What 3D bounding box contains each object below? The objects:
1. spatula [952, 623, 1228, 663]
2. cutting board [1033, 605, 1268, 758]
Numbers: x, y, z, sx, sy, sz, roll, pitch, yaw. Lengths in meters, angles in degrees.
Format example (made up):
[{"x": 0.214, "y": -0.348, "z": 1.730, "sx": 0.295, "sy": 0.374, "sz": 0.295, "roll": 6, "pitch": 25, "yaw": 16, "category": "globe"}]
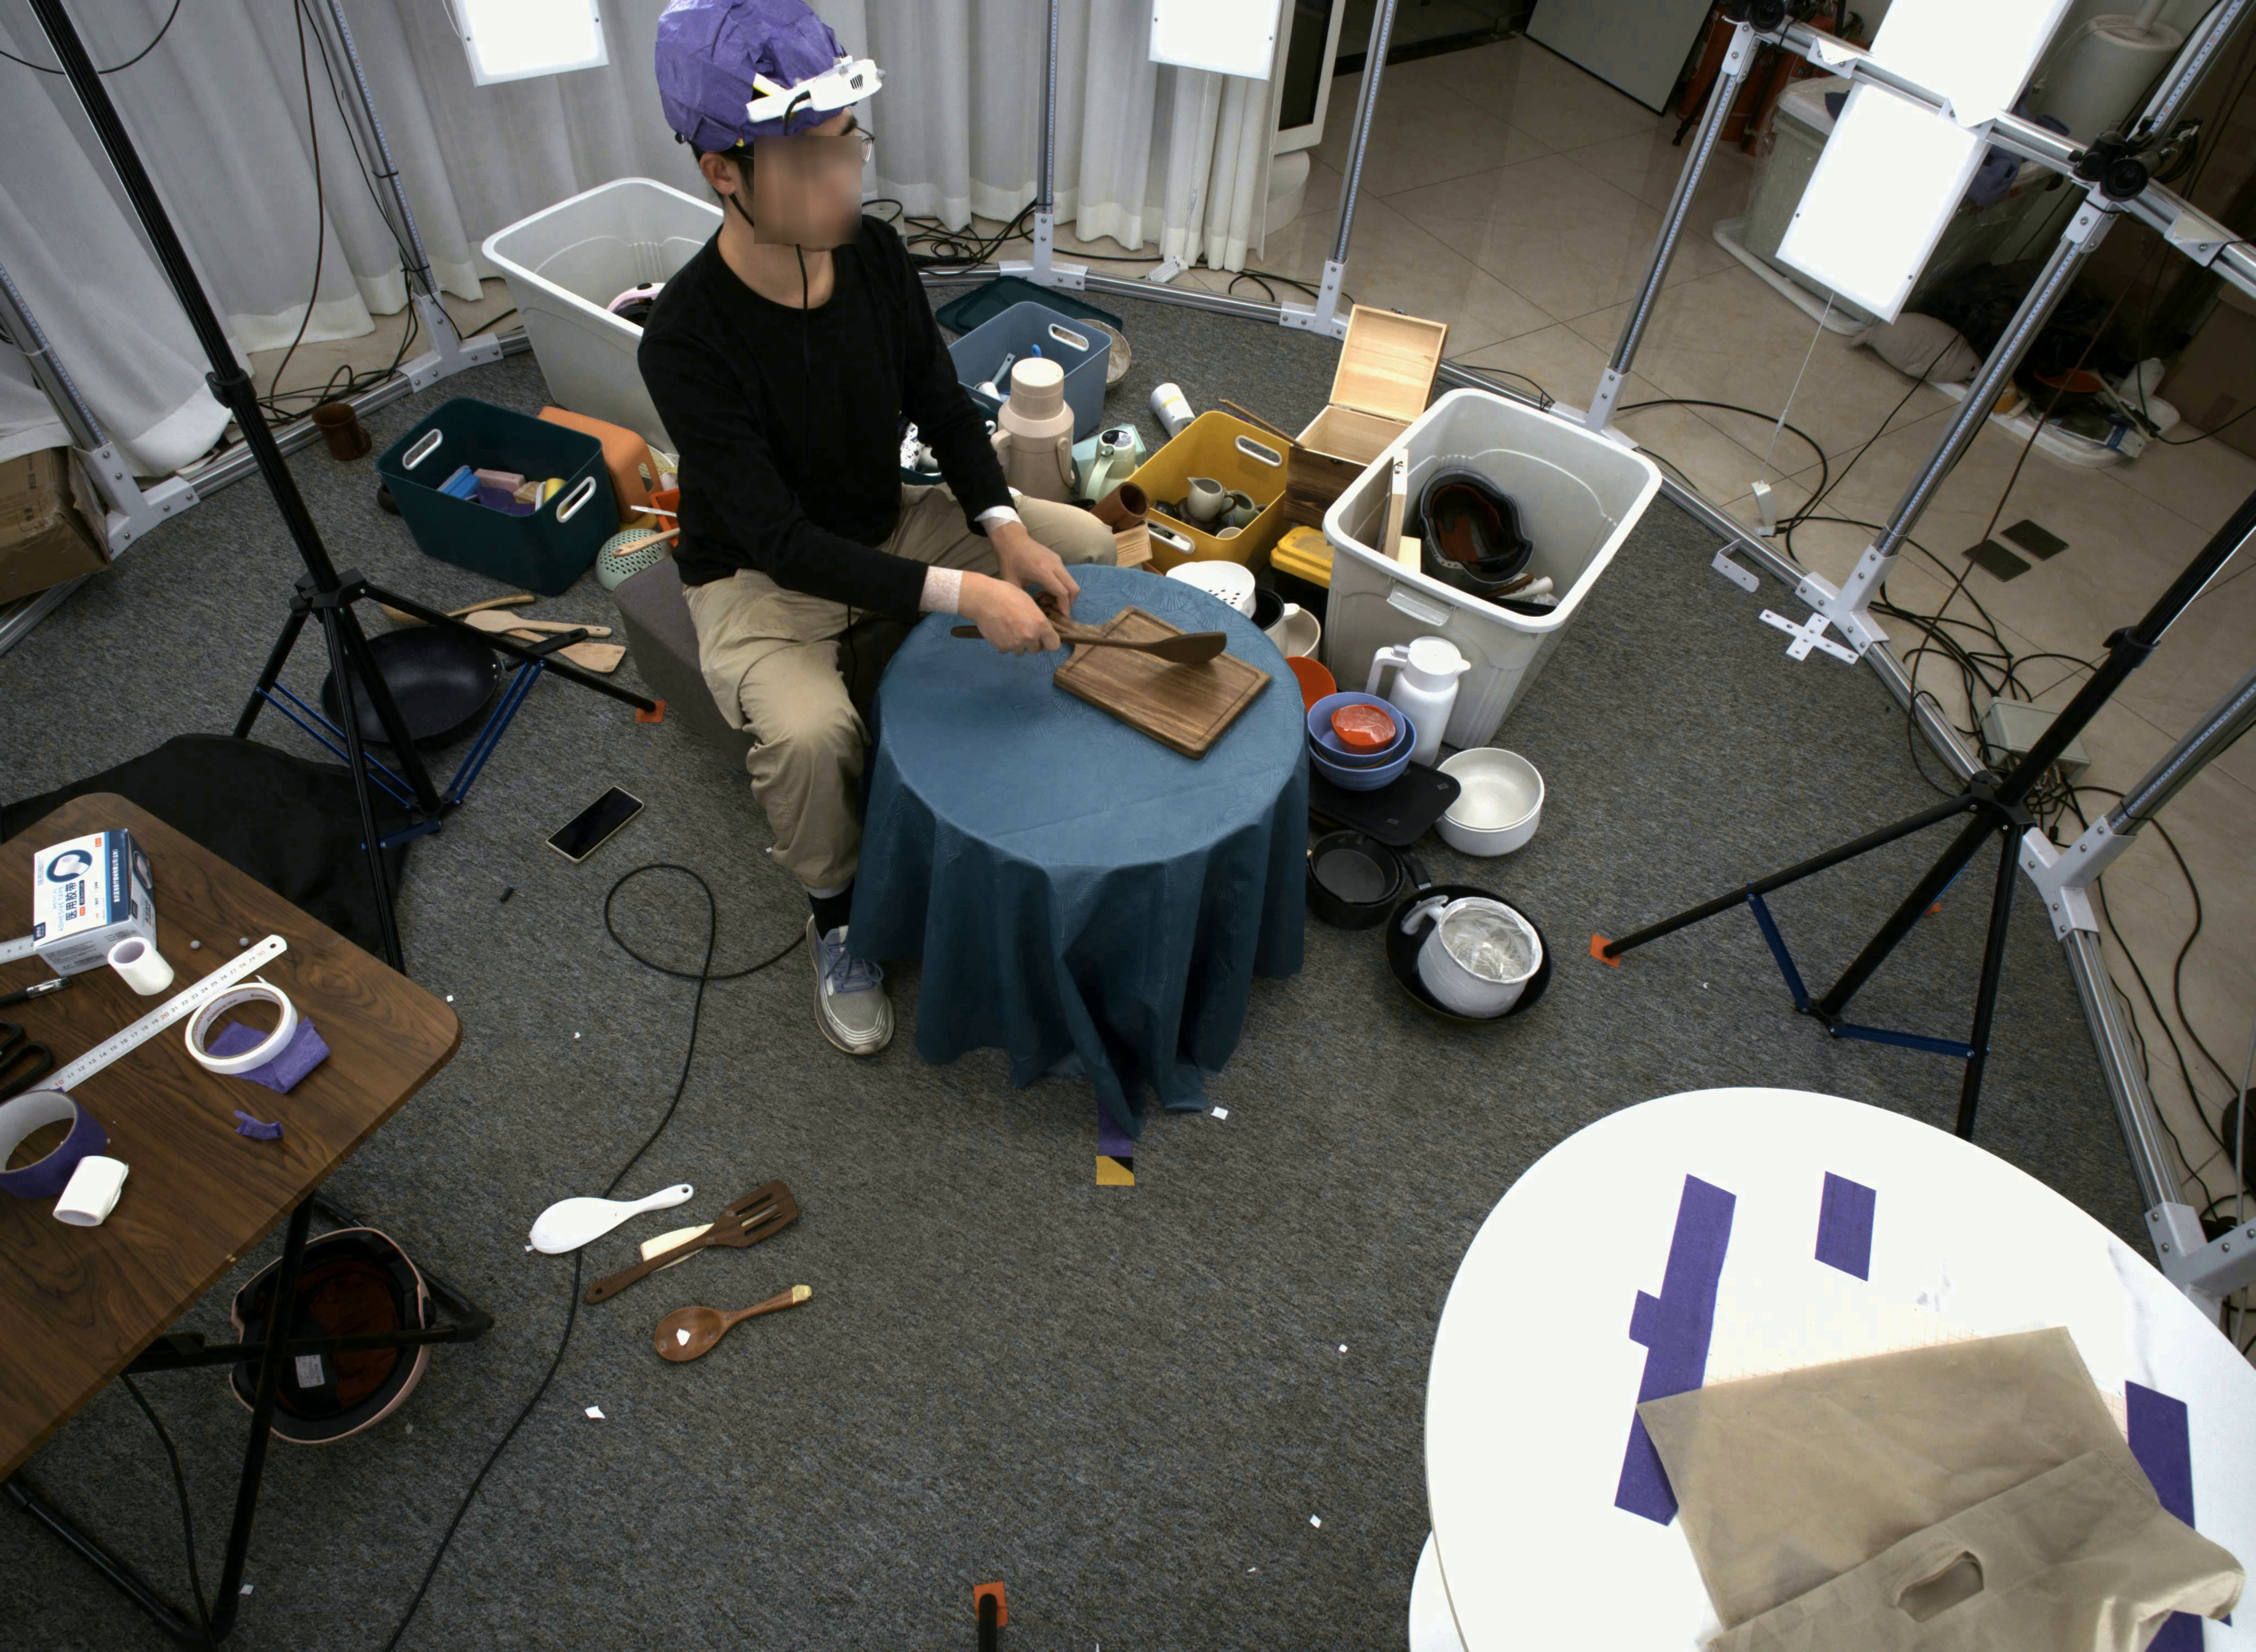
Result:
[{"x": -0.051, "y": -0.261, "z": 1.794, "sx": 0.385, "sy": 0.095, "sz": 0.016, "roll": 3, "pitch": 72, "yaw": -9, "category": "spatula"}, {"x": 0.008, "y": -0.236, "z": 1.862, "sx": 0.356, "sy": 0.022, "sz": 0.204, "roll": 29, "pitch": 53, "yaw": 20, "category": "cutting board"}]
